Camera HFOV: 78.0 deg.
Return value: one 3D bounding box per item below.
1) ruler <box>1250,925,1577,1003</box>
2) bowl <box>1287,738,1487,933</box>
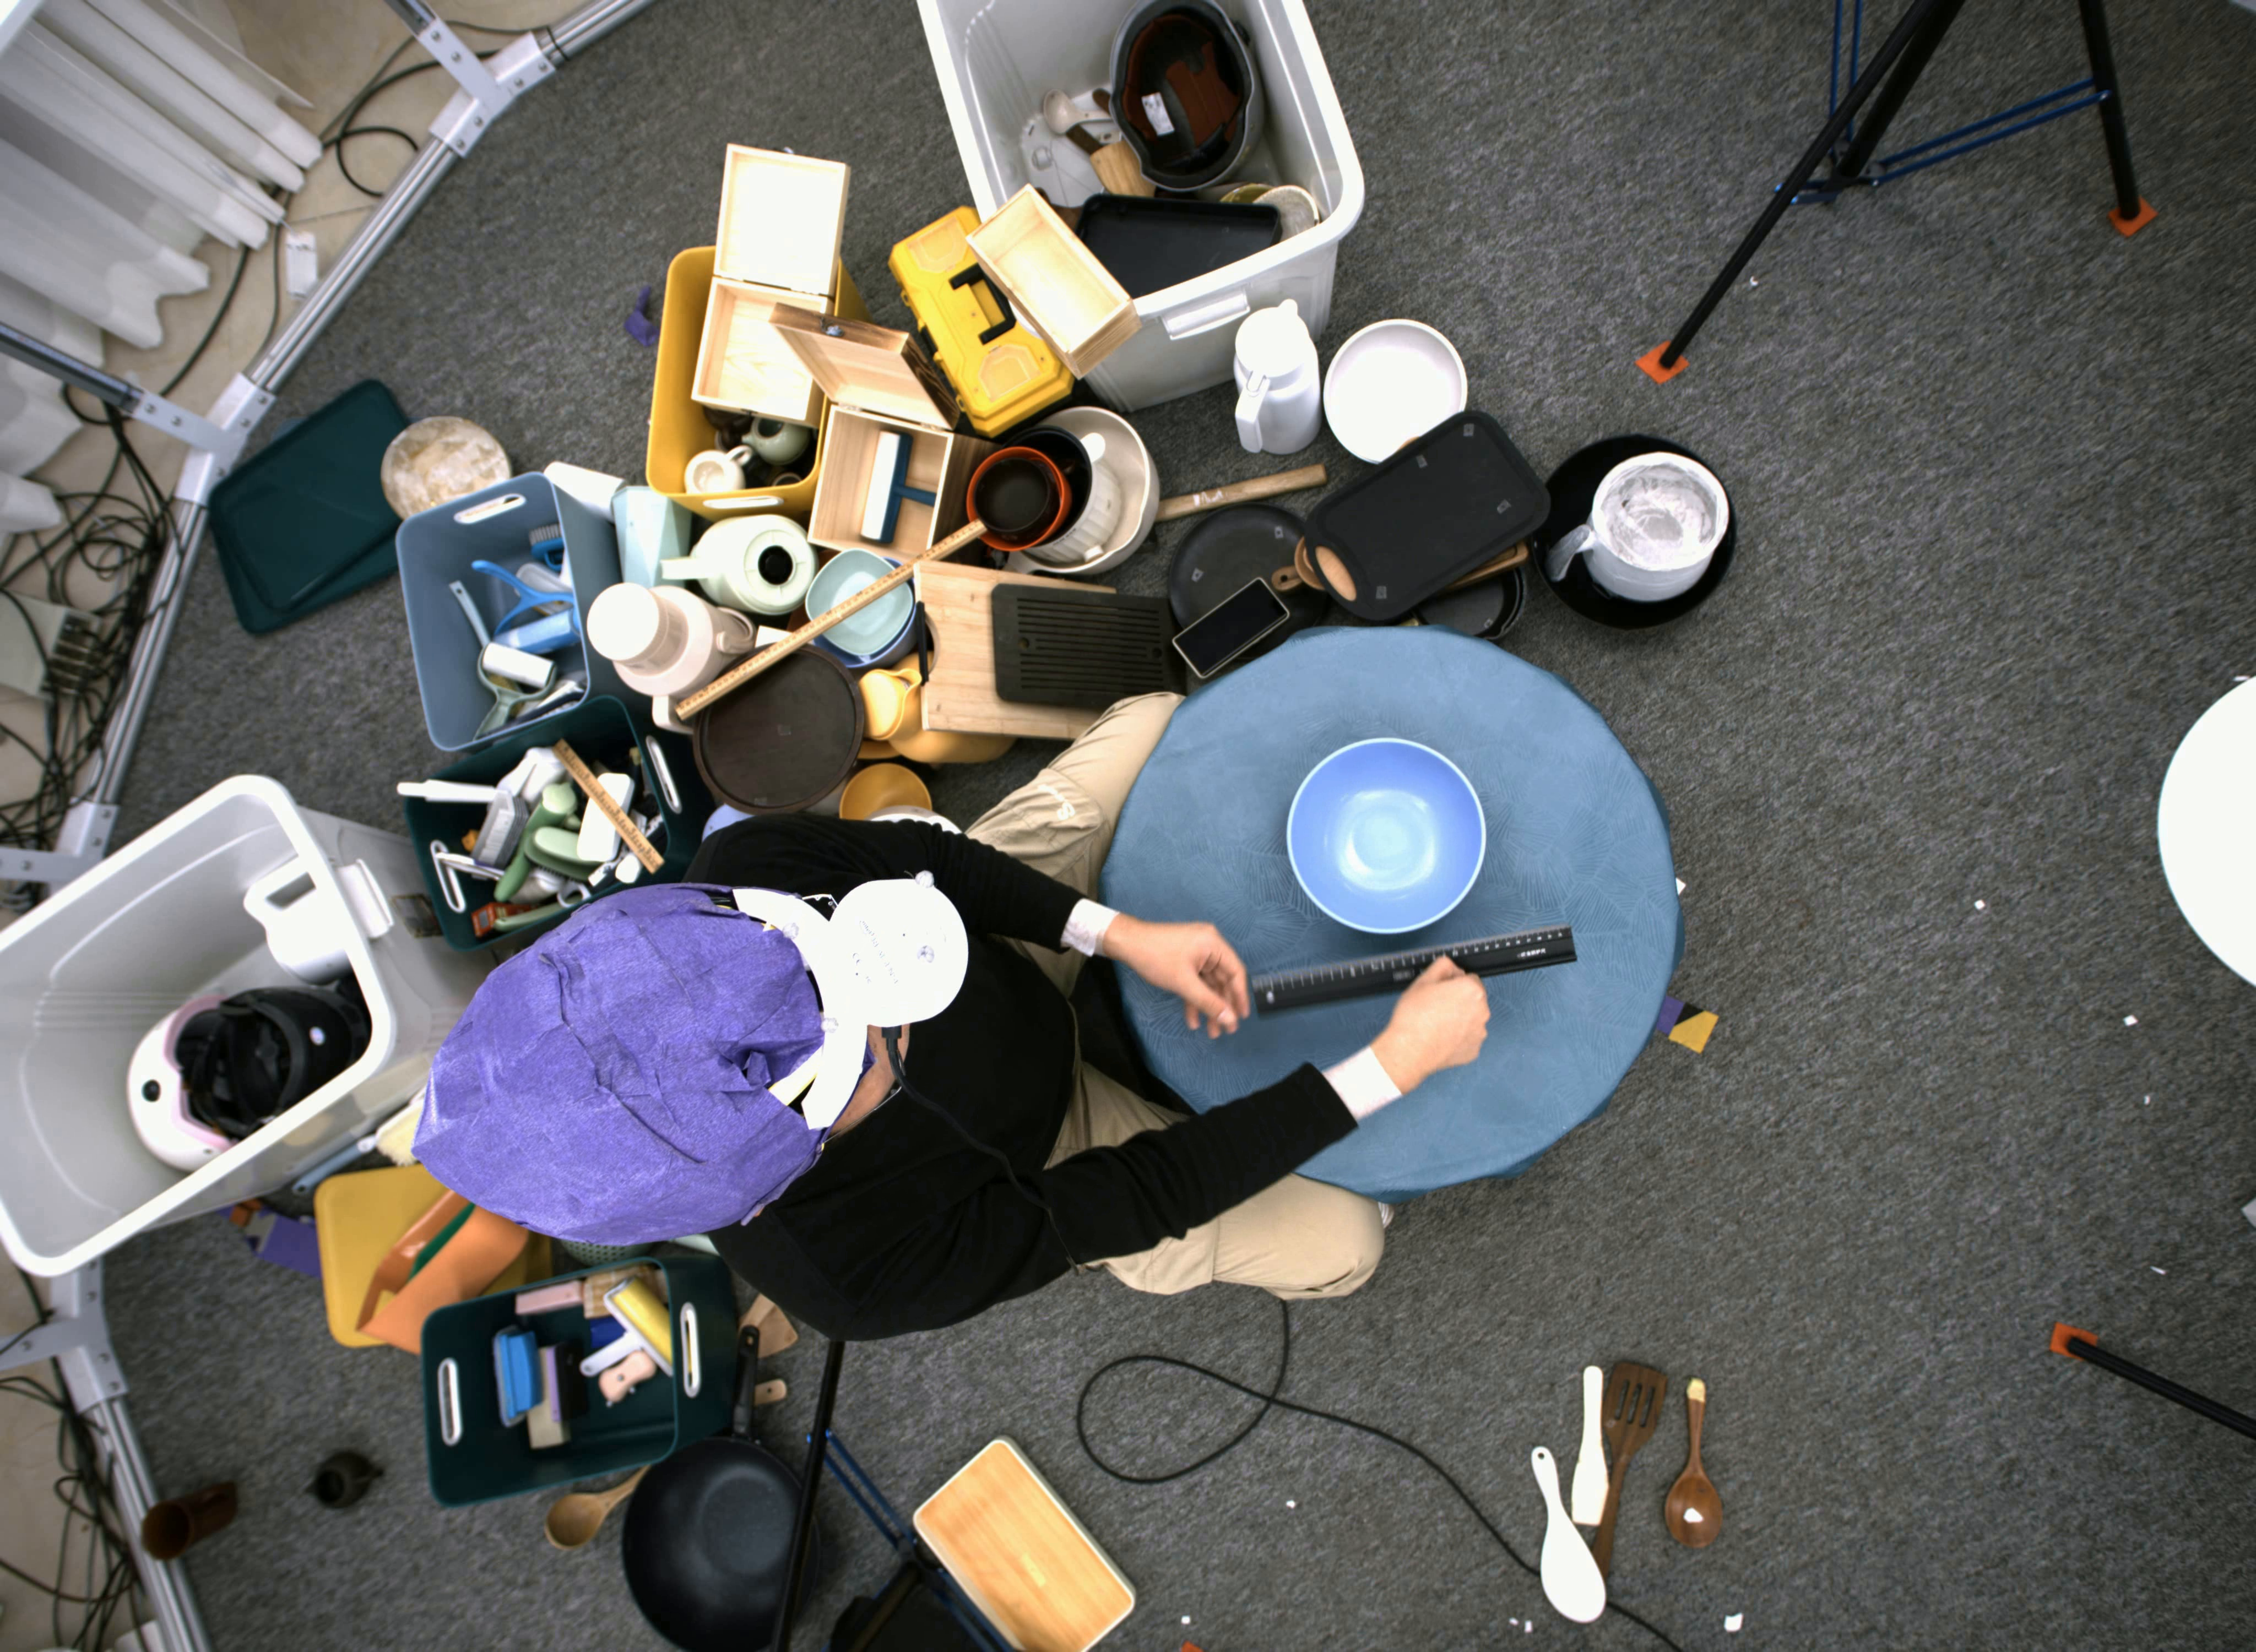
[{"bbox_3d":[0.272,0.133,1.334,0.314,0.017,0.039,-9,95,14],"label":"ruler"},{"bbox_3d":[0.264,0.013,1.416,0.197,0.095,0.195,-1,86,10],"label":"bowl"}]
